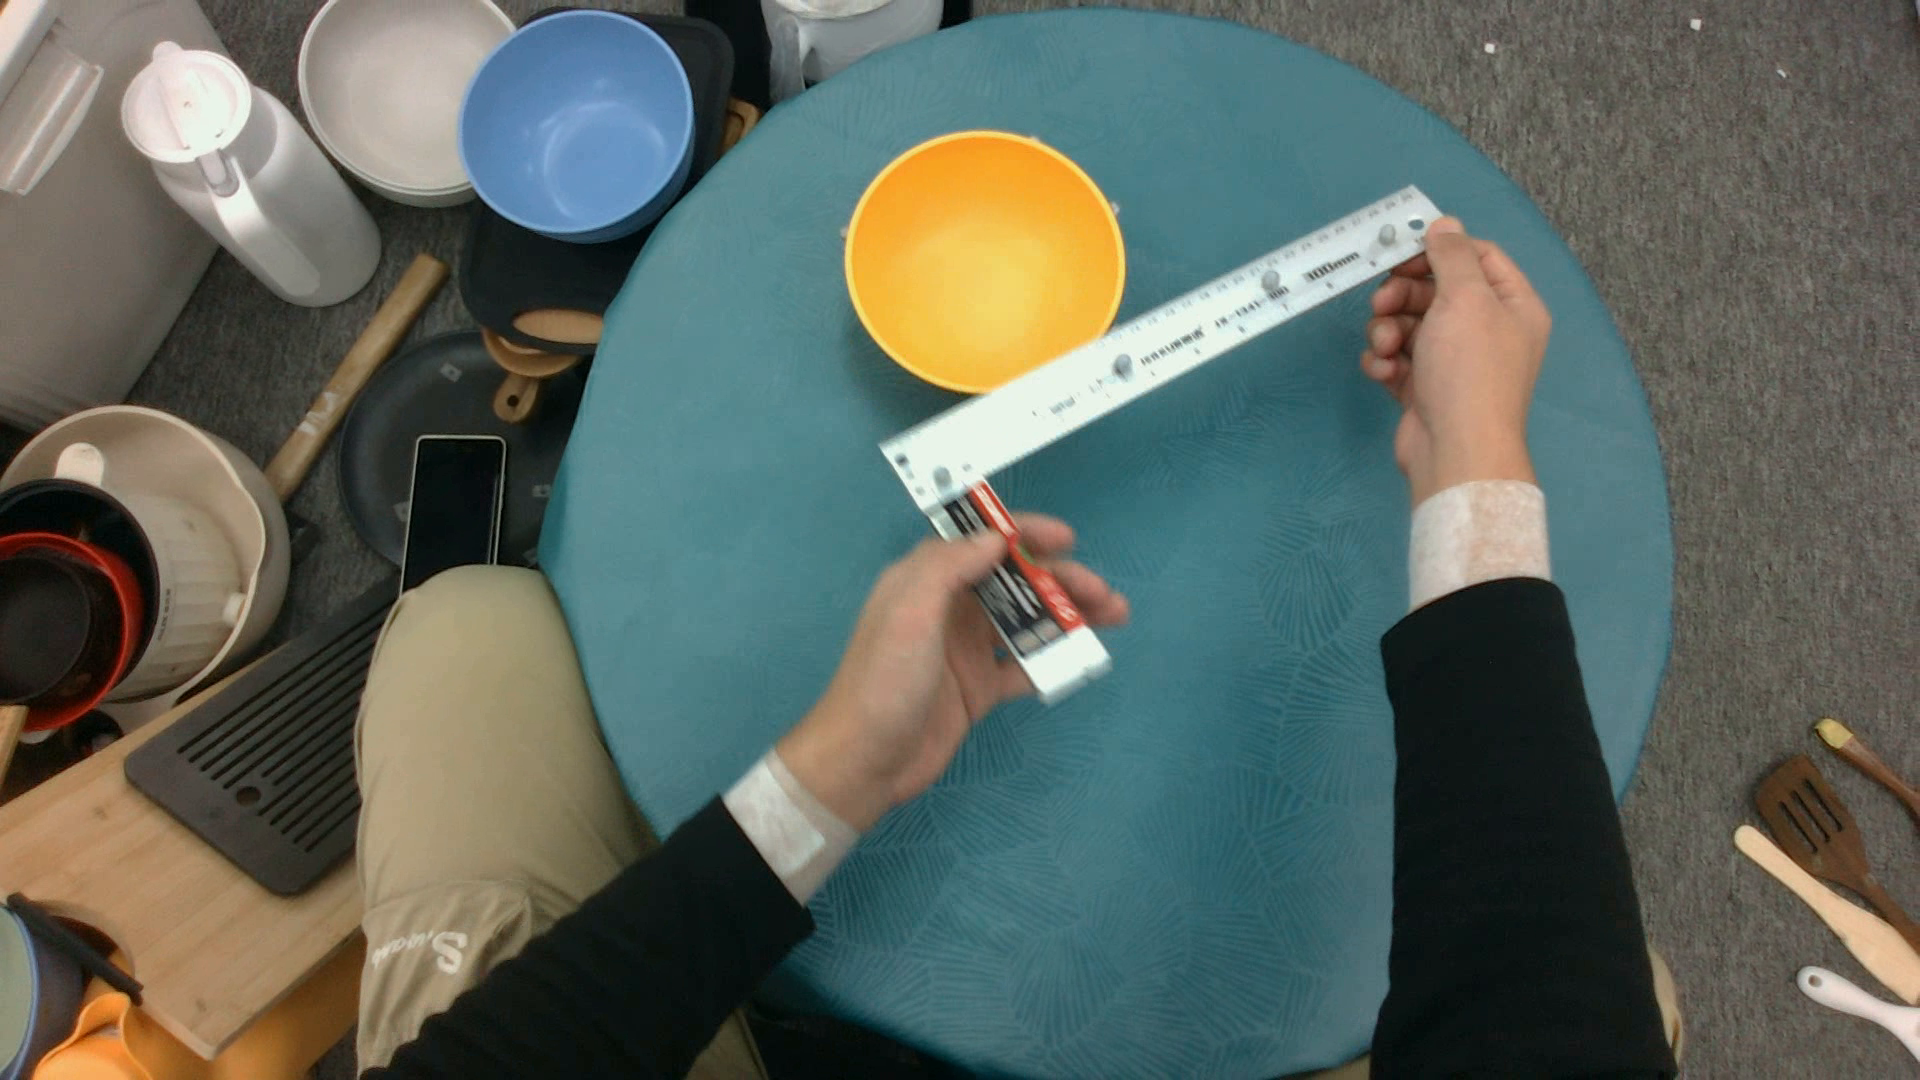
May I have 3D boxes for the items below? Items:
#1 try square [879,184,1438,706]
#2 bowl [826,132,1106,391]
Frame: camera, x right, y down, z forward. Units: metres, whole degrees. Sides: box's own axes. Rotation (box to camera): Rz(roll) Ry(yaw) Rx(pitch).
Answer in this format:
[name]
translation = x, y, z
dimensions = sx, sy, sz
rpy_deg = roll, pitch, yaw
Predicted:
[try square]
translation = 0.129, -0.058, 0.652
dimensions = 0.313, 0.016, 0.152
rpy_deg = -30, 58, -11
[bowl]
translation = 0.003, -0.140, 0.738
dimensions = 0.145, 0.060, 0.145
rpy_deg = 0, 77, -1
